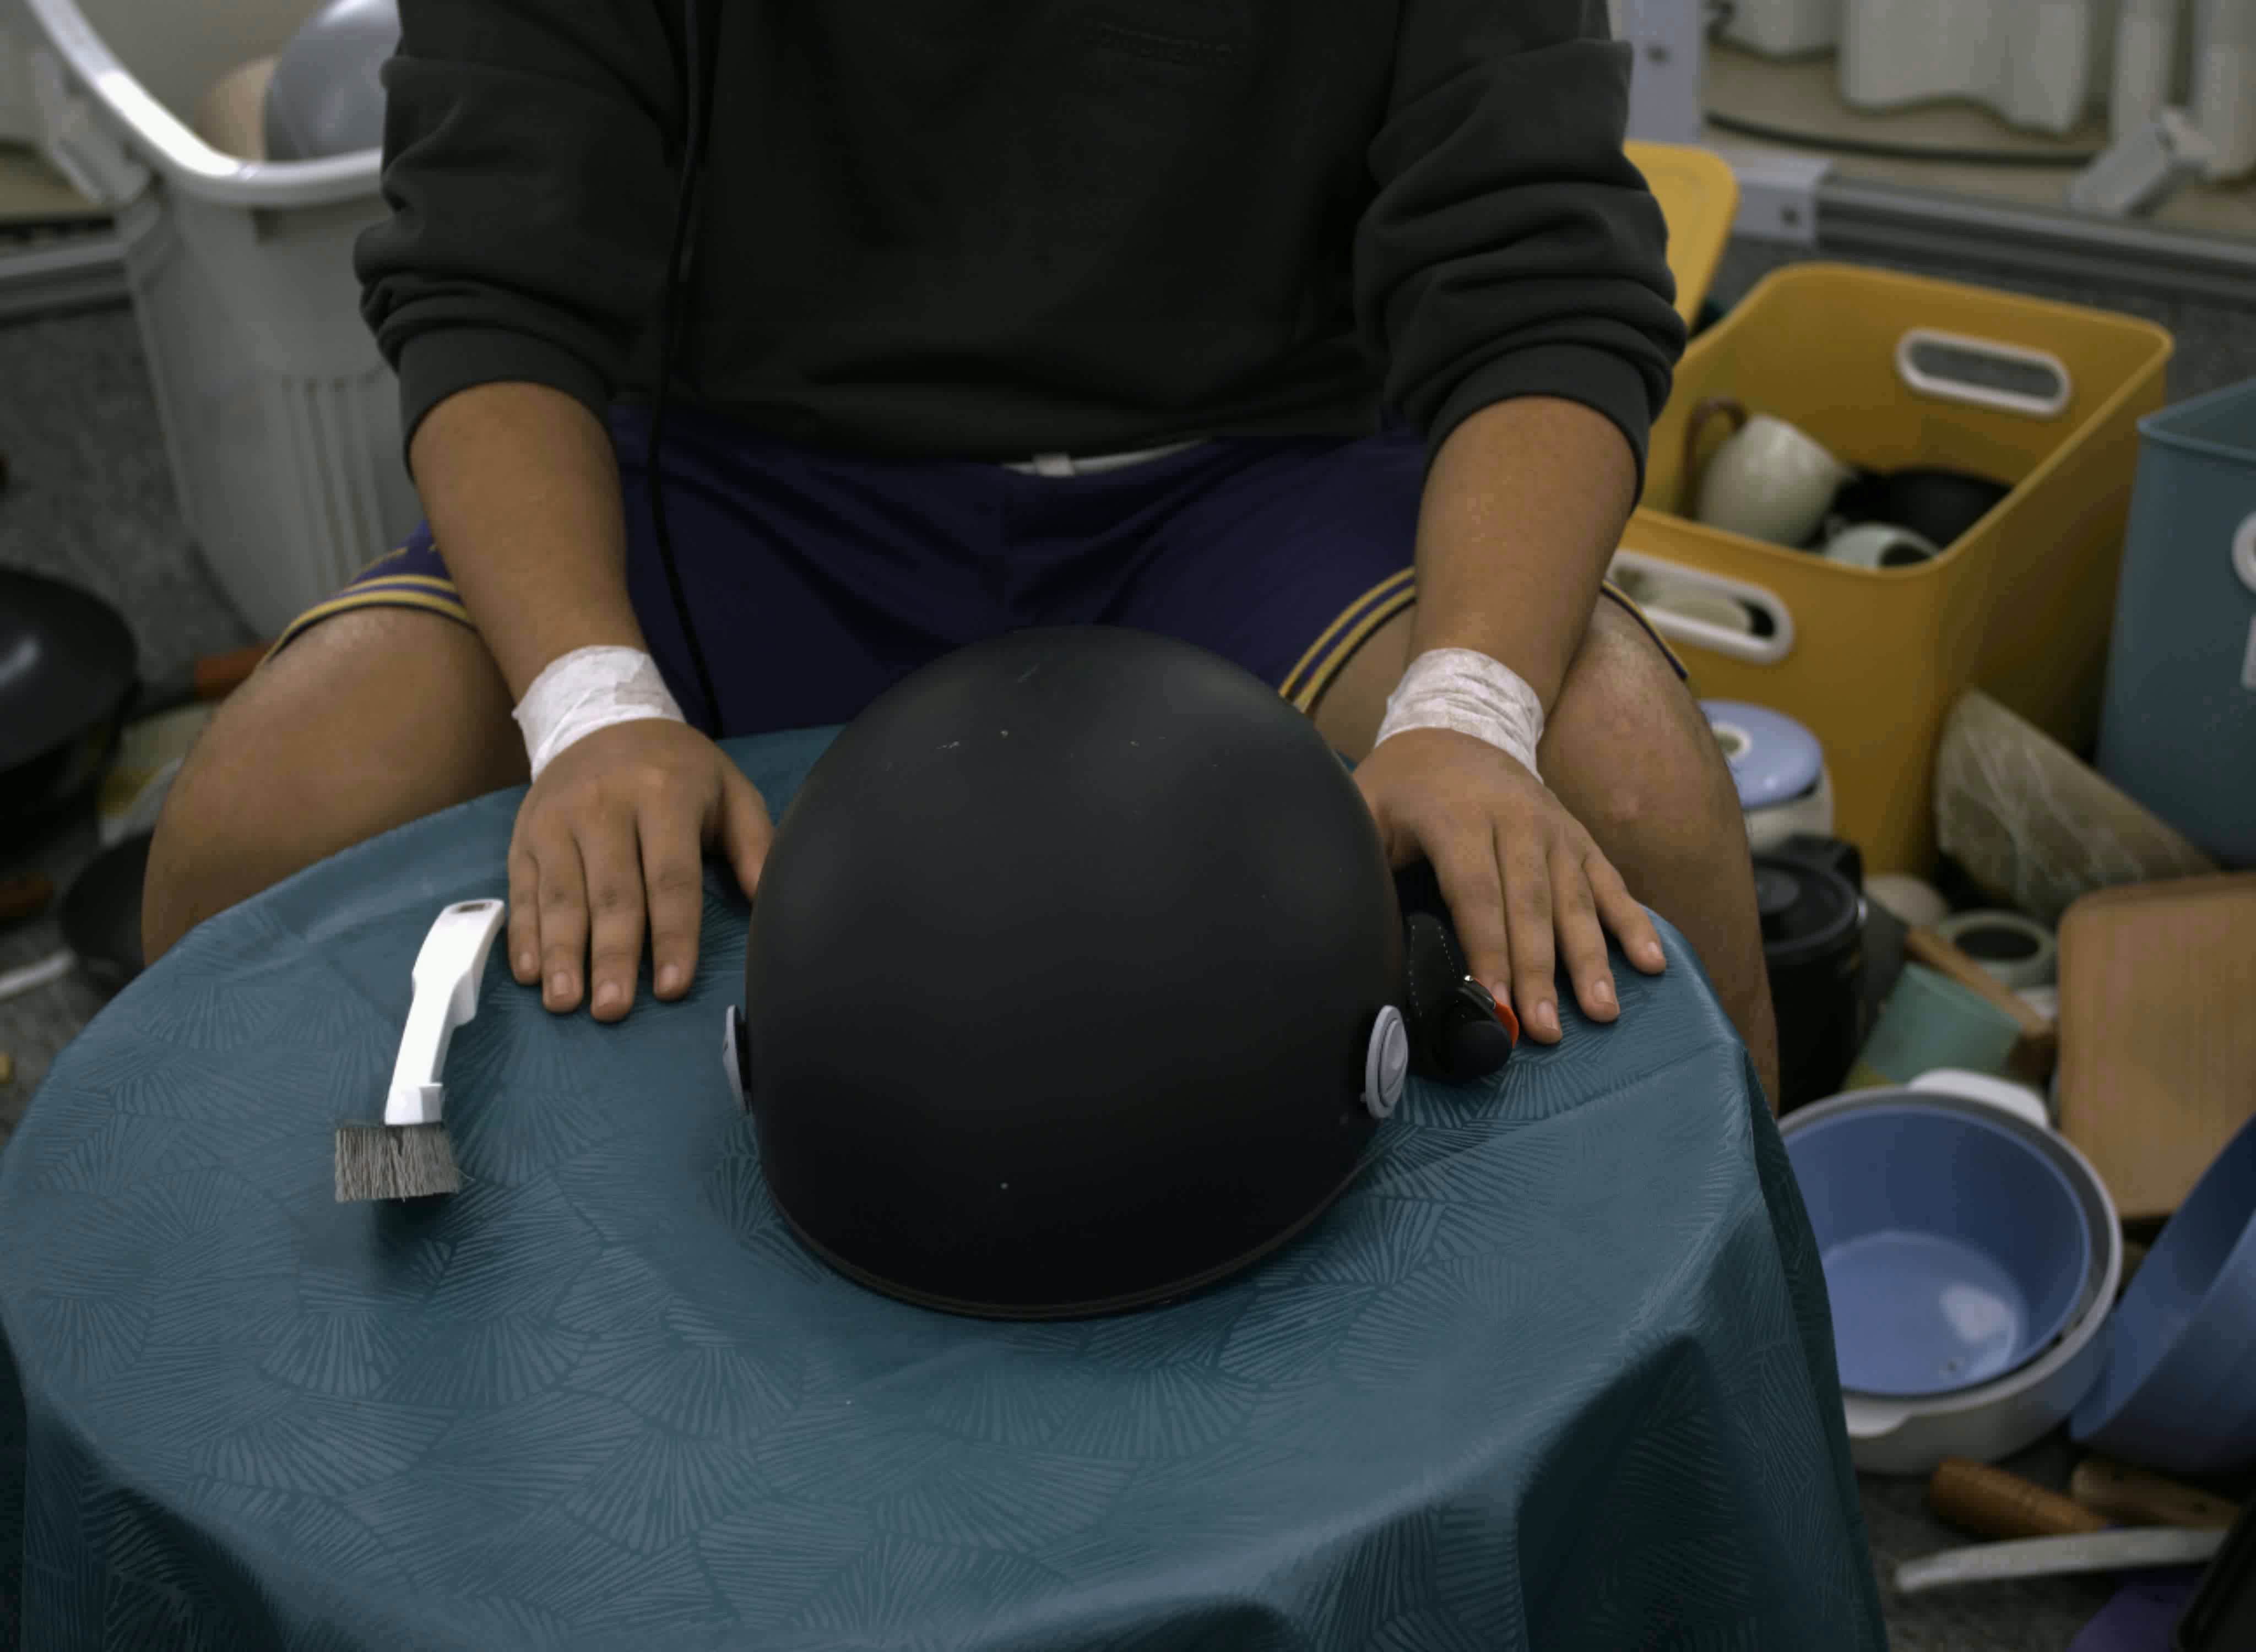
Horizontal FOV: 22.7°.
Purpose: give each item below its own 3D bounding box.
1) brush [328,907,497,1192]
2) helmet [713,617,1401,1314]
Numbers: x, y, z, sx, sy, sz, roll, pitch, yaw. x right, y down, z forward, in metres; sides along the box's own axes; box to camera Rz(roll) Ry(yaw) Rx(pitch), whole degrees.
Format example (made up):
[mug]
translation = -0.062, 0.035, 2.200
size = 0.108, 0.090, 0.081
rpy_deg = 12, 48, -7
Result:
[brush]
translation = -0.241, 0.081, 1.940
size = 0.034, 0.050, 0.246
rpy_deg = -6, 14, 3
[helmet]
translation = -0.023, 0.027, 1.878
size = 0.228, 0.165, 0.278
rpy_deg = 0, 29, 12
